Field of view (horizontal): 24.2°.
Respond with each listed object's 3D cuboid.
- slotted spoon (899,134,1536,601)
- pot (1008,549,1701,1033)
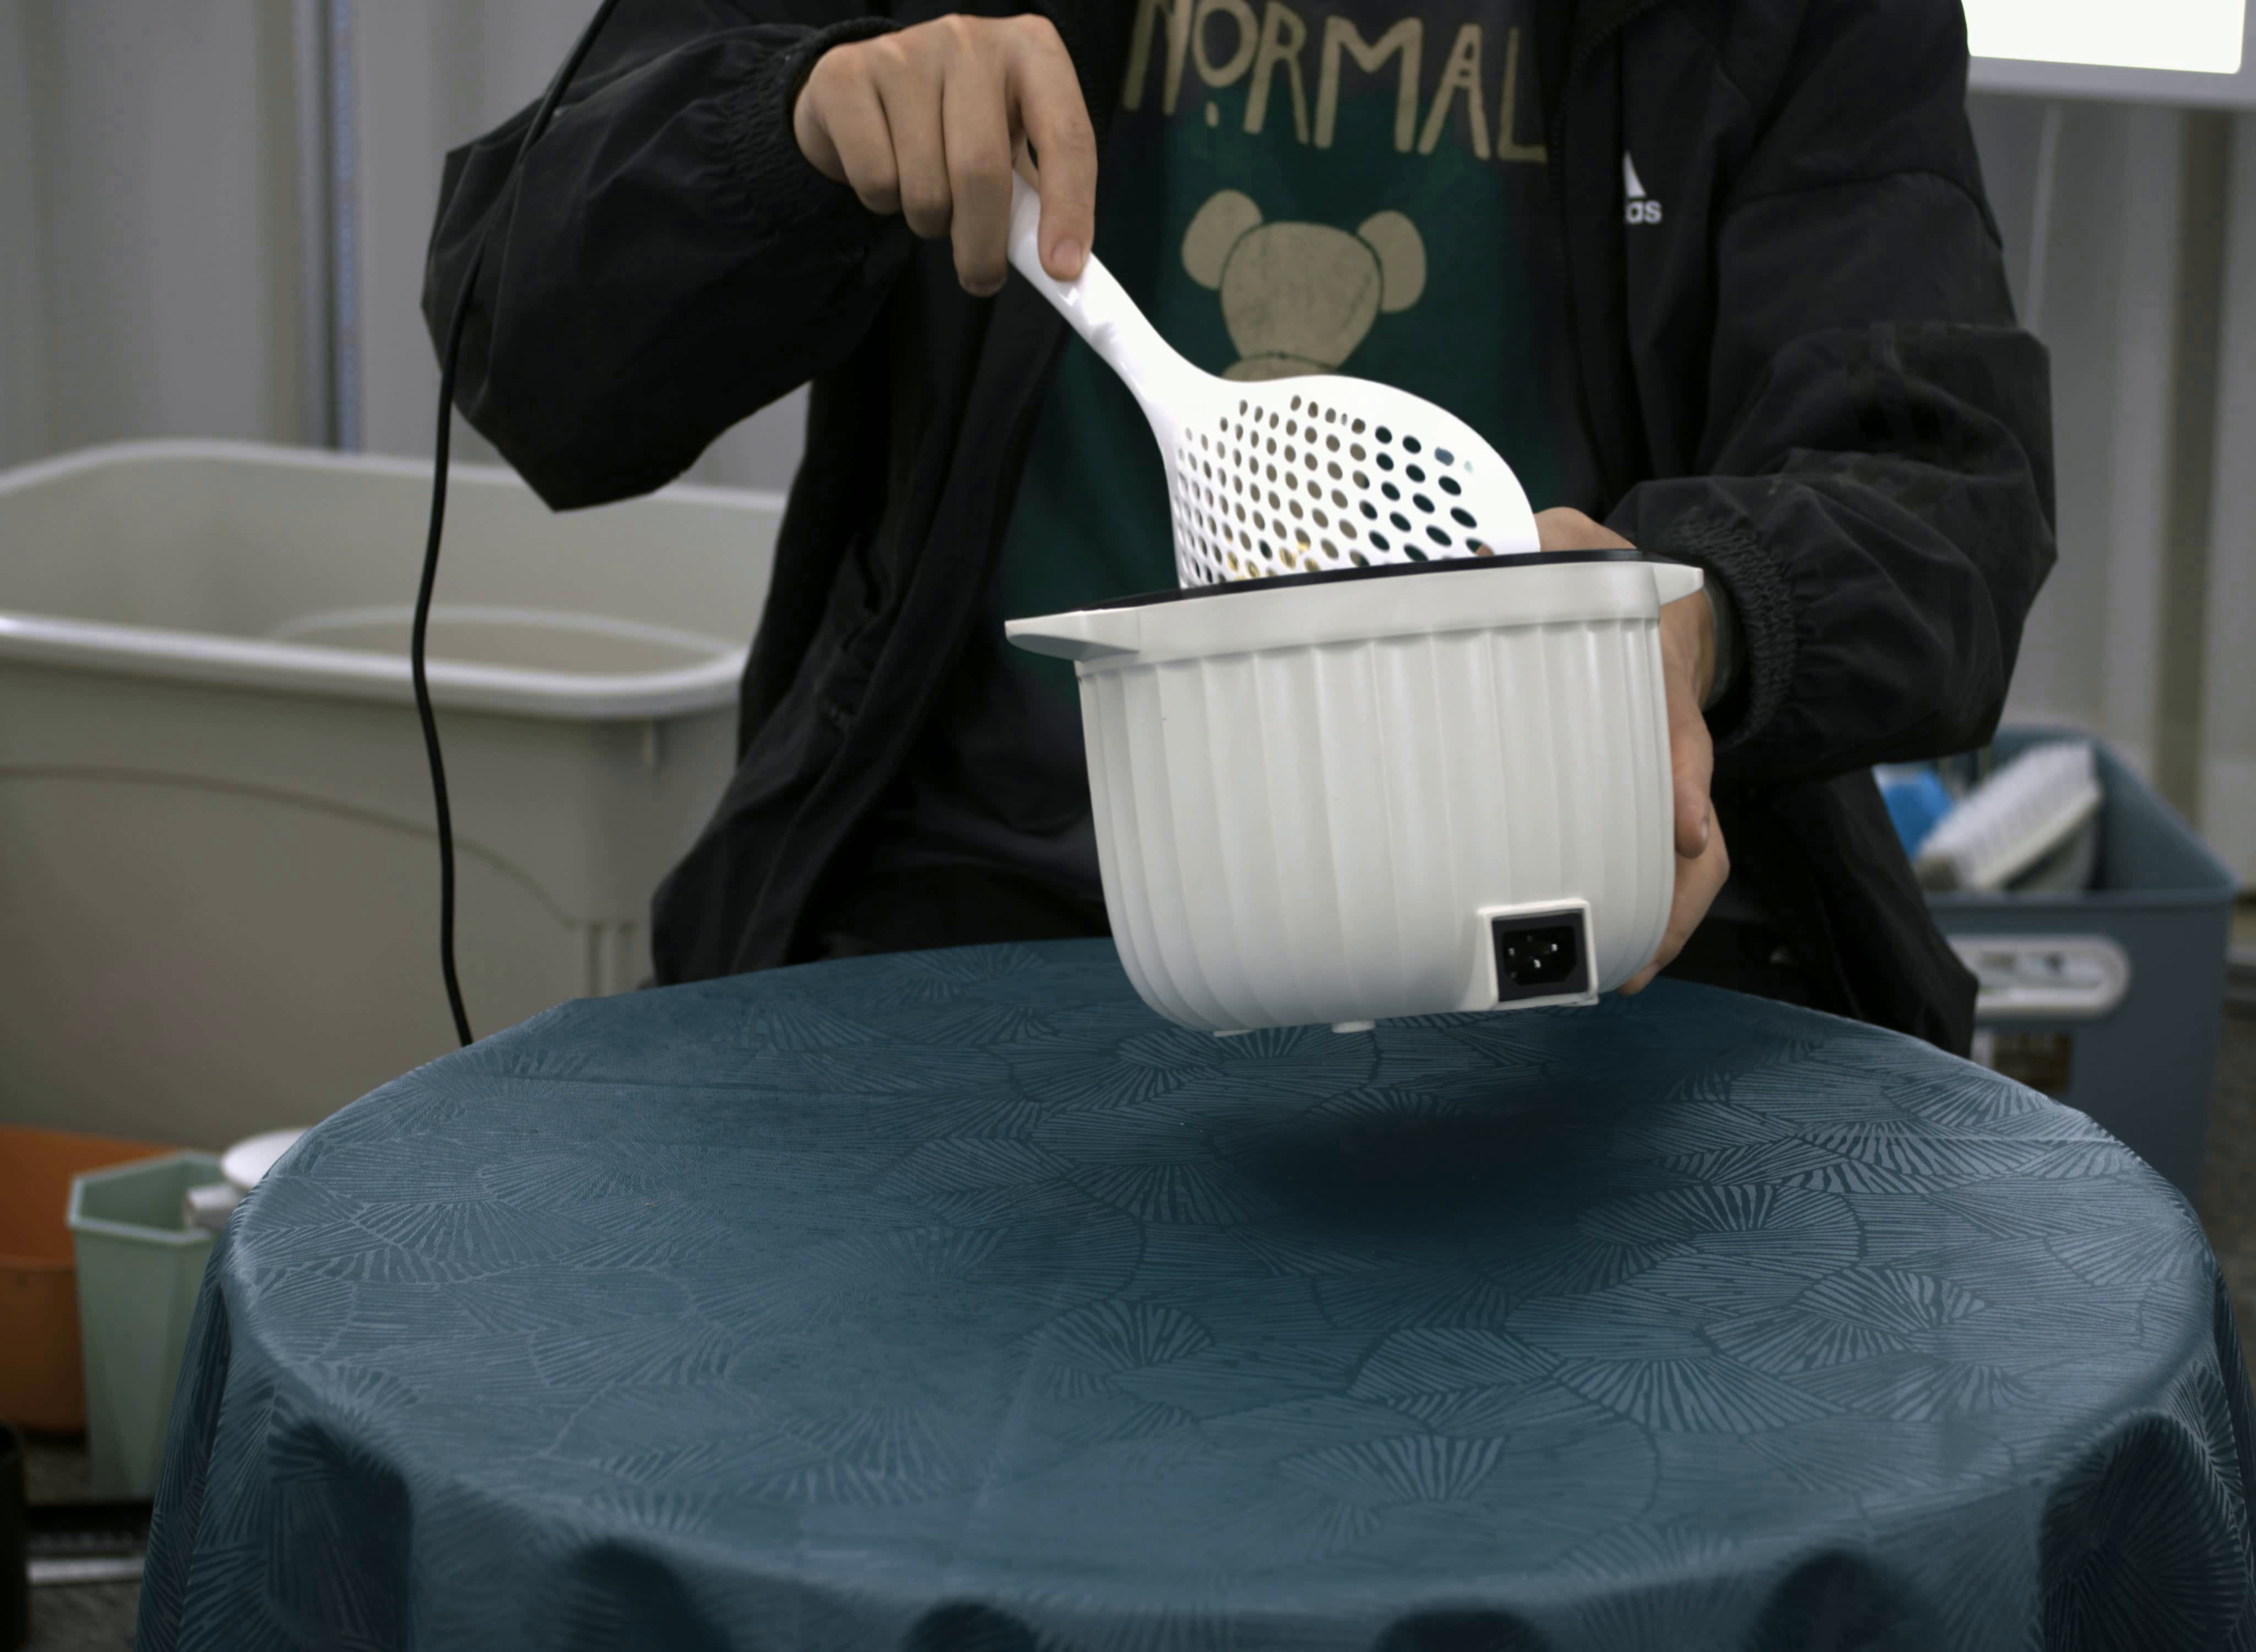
[{"bbox_3d":[0.014,-0.130,1.687,0.051,0.137,0.343,10,27,-36],"label":"slotted spoon"},{"bbox_3d":[0.074,-0.009,1.621,0.241,0.143,0.189,-4,3,-27],"label":"pot"}]
